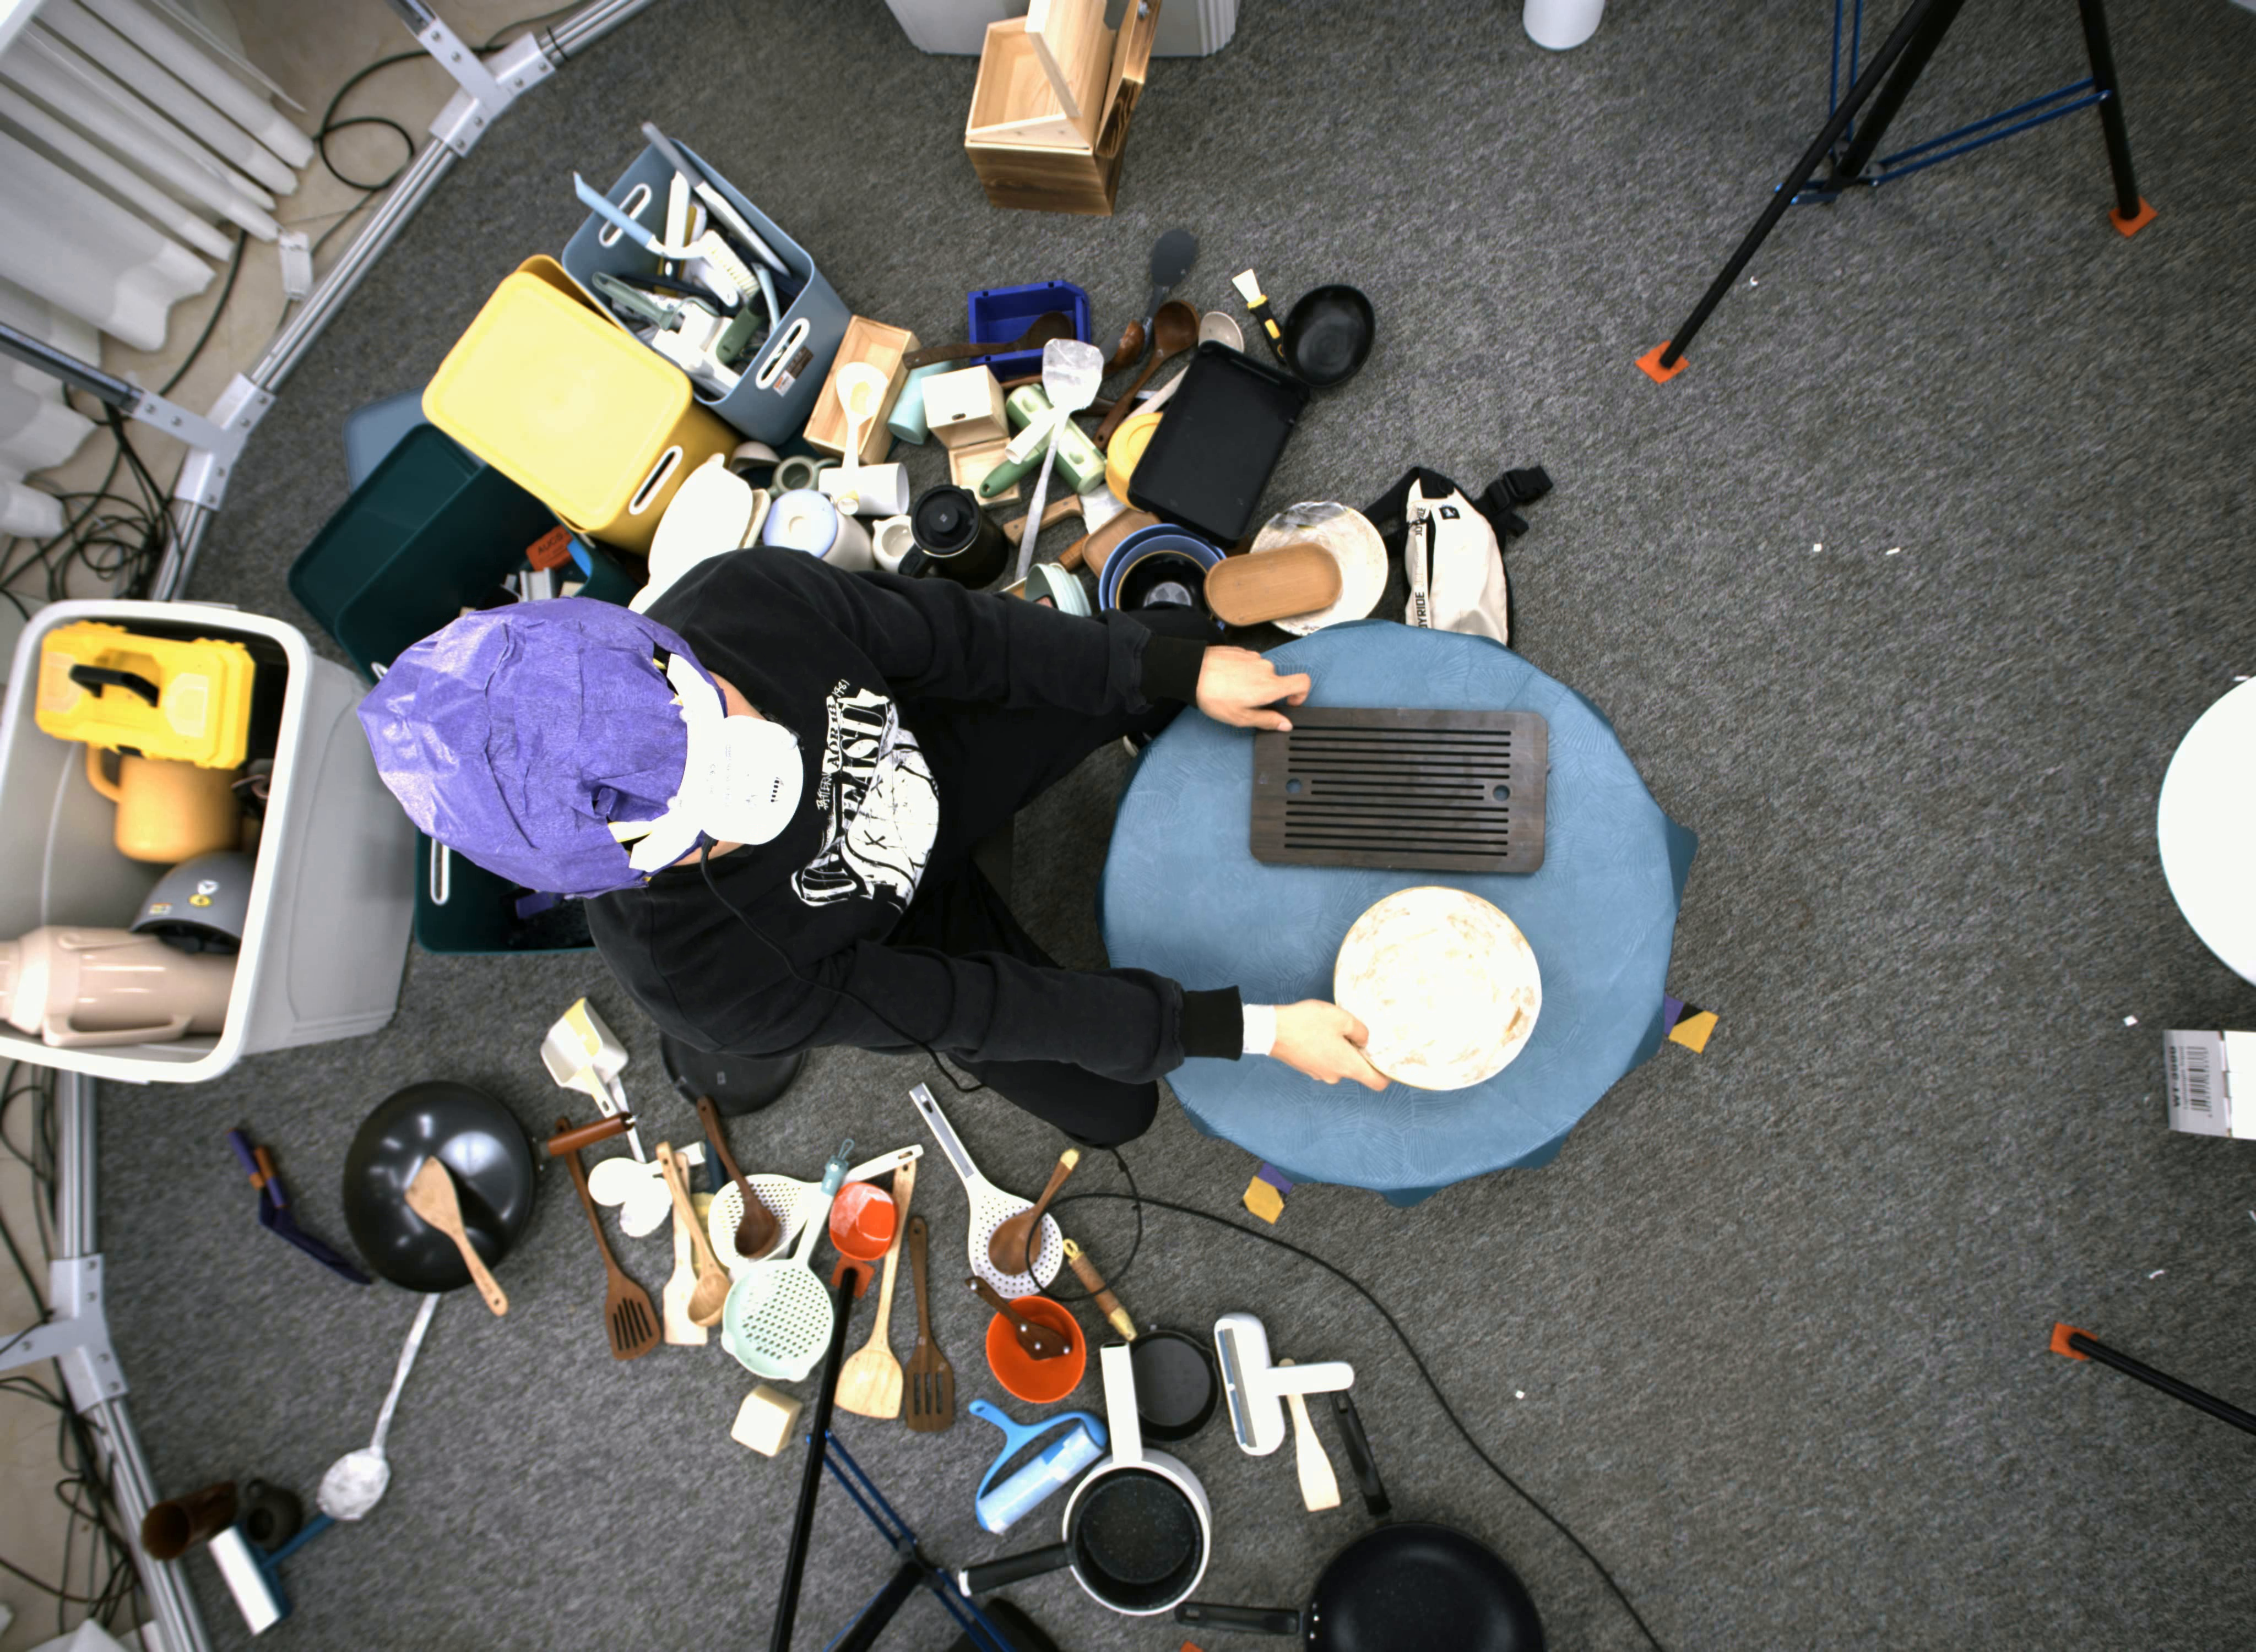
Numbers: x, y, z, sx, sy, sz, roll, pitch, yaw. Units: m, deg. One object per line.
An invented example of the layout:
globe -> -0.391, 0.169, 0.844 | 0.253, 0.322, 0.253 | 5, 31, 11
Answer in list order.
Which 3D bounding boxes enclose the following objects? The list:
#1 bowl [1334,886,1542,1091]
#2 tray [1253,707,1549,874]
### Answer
bowl -> 0.311, 0.160, 1.404 | 0.215, 0.094, 0.213 | -1, 86, 12
tray -> 0.288, -0.040, 1.460 | 0.307, 0.018, 0.169 | 2, 86, 11
